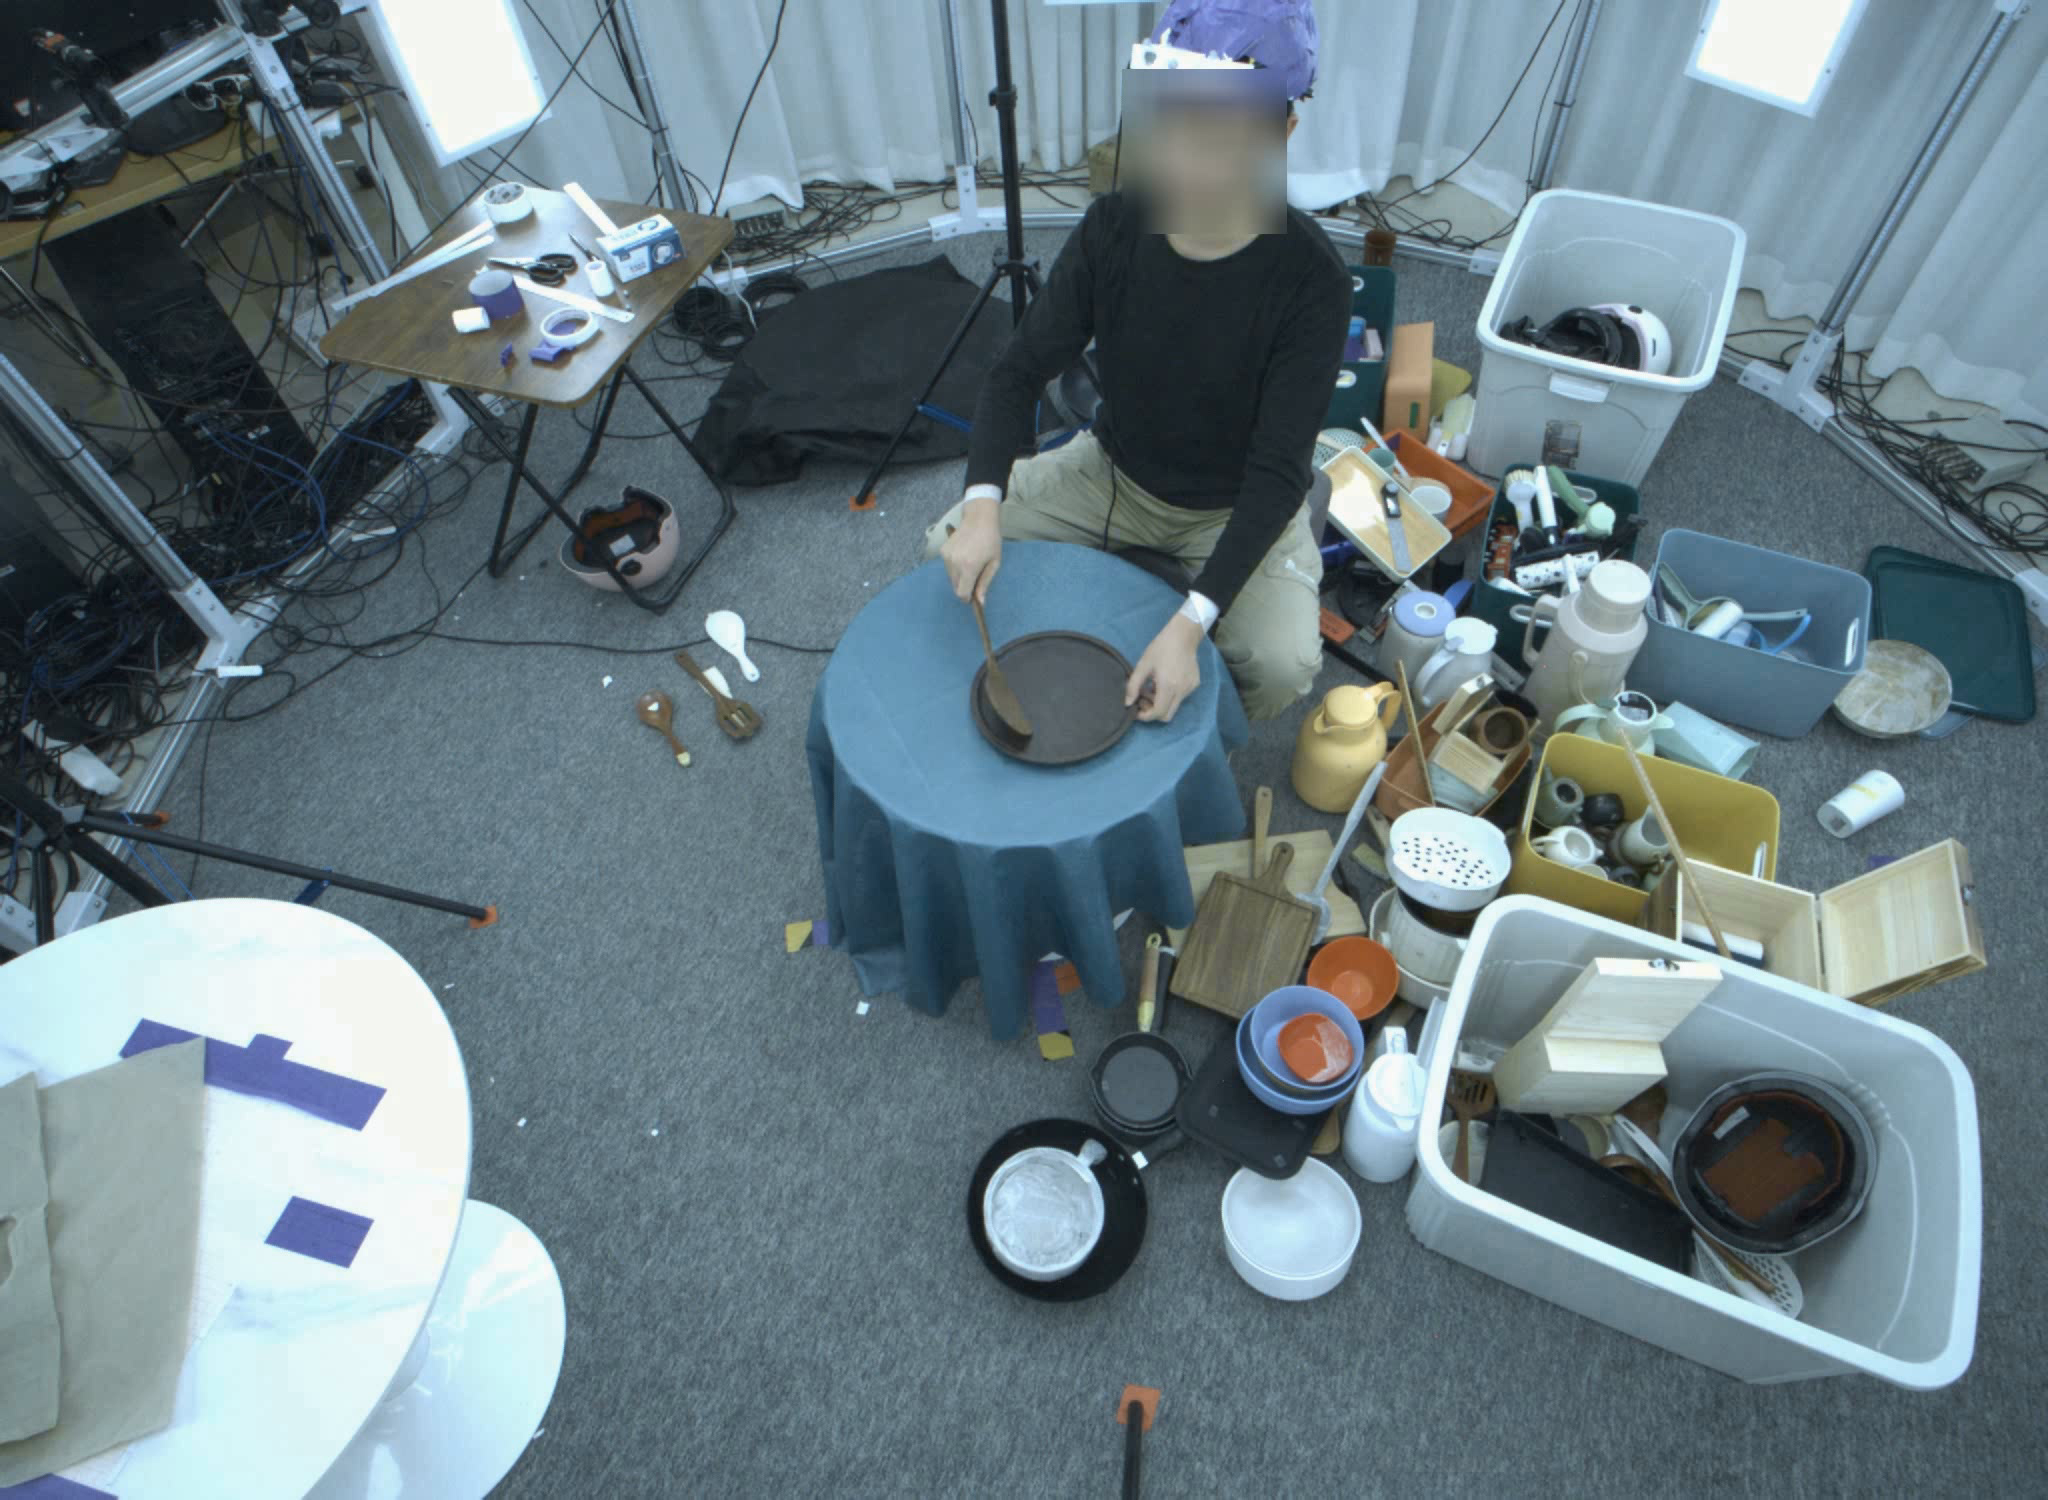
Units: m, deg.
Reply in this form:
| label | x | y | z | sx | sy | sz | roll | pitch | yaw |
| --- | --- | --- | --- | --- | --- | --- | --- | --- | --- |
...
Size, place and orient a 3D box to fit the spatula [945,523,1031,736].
| label | x | y | z | sx | sy | sz | roll | pitch | yaw |
| --- | --- | --- | --- | --- | --- | --- | --- | --- | --- |
| spatula | -0.064 | -0.189 | 1.823 | 0.015 | 0.098 | 0.381 | -27 | 64 | 20 |

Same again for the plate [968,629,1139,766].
| label | x | y | z | sx | sy | sz | roll | pitch | yaw |
| --- | --- | --- | --- | --- | --- | --- | --- | --- | --- |
| plate | 0.045 | -0.079 | 1.827 | 0.254 | 0.029 | 0.252 | -1 | 54 | 3 |
